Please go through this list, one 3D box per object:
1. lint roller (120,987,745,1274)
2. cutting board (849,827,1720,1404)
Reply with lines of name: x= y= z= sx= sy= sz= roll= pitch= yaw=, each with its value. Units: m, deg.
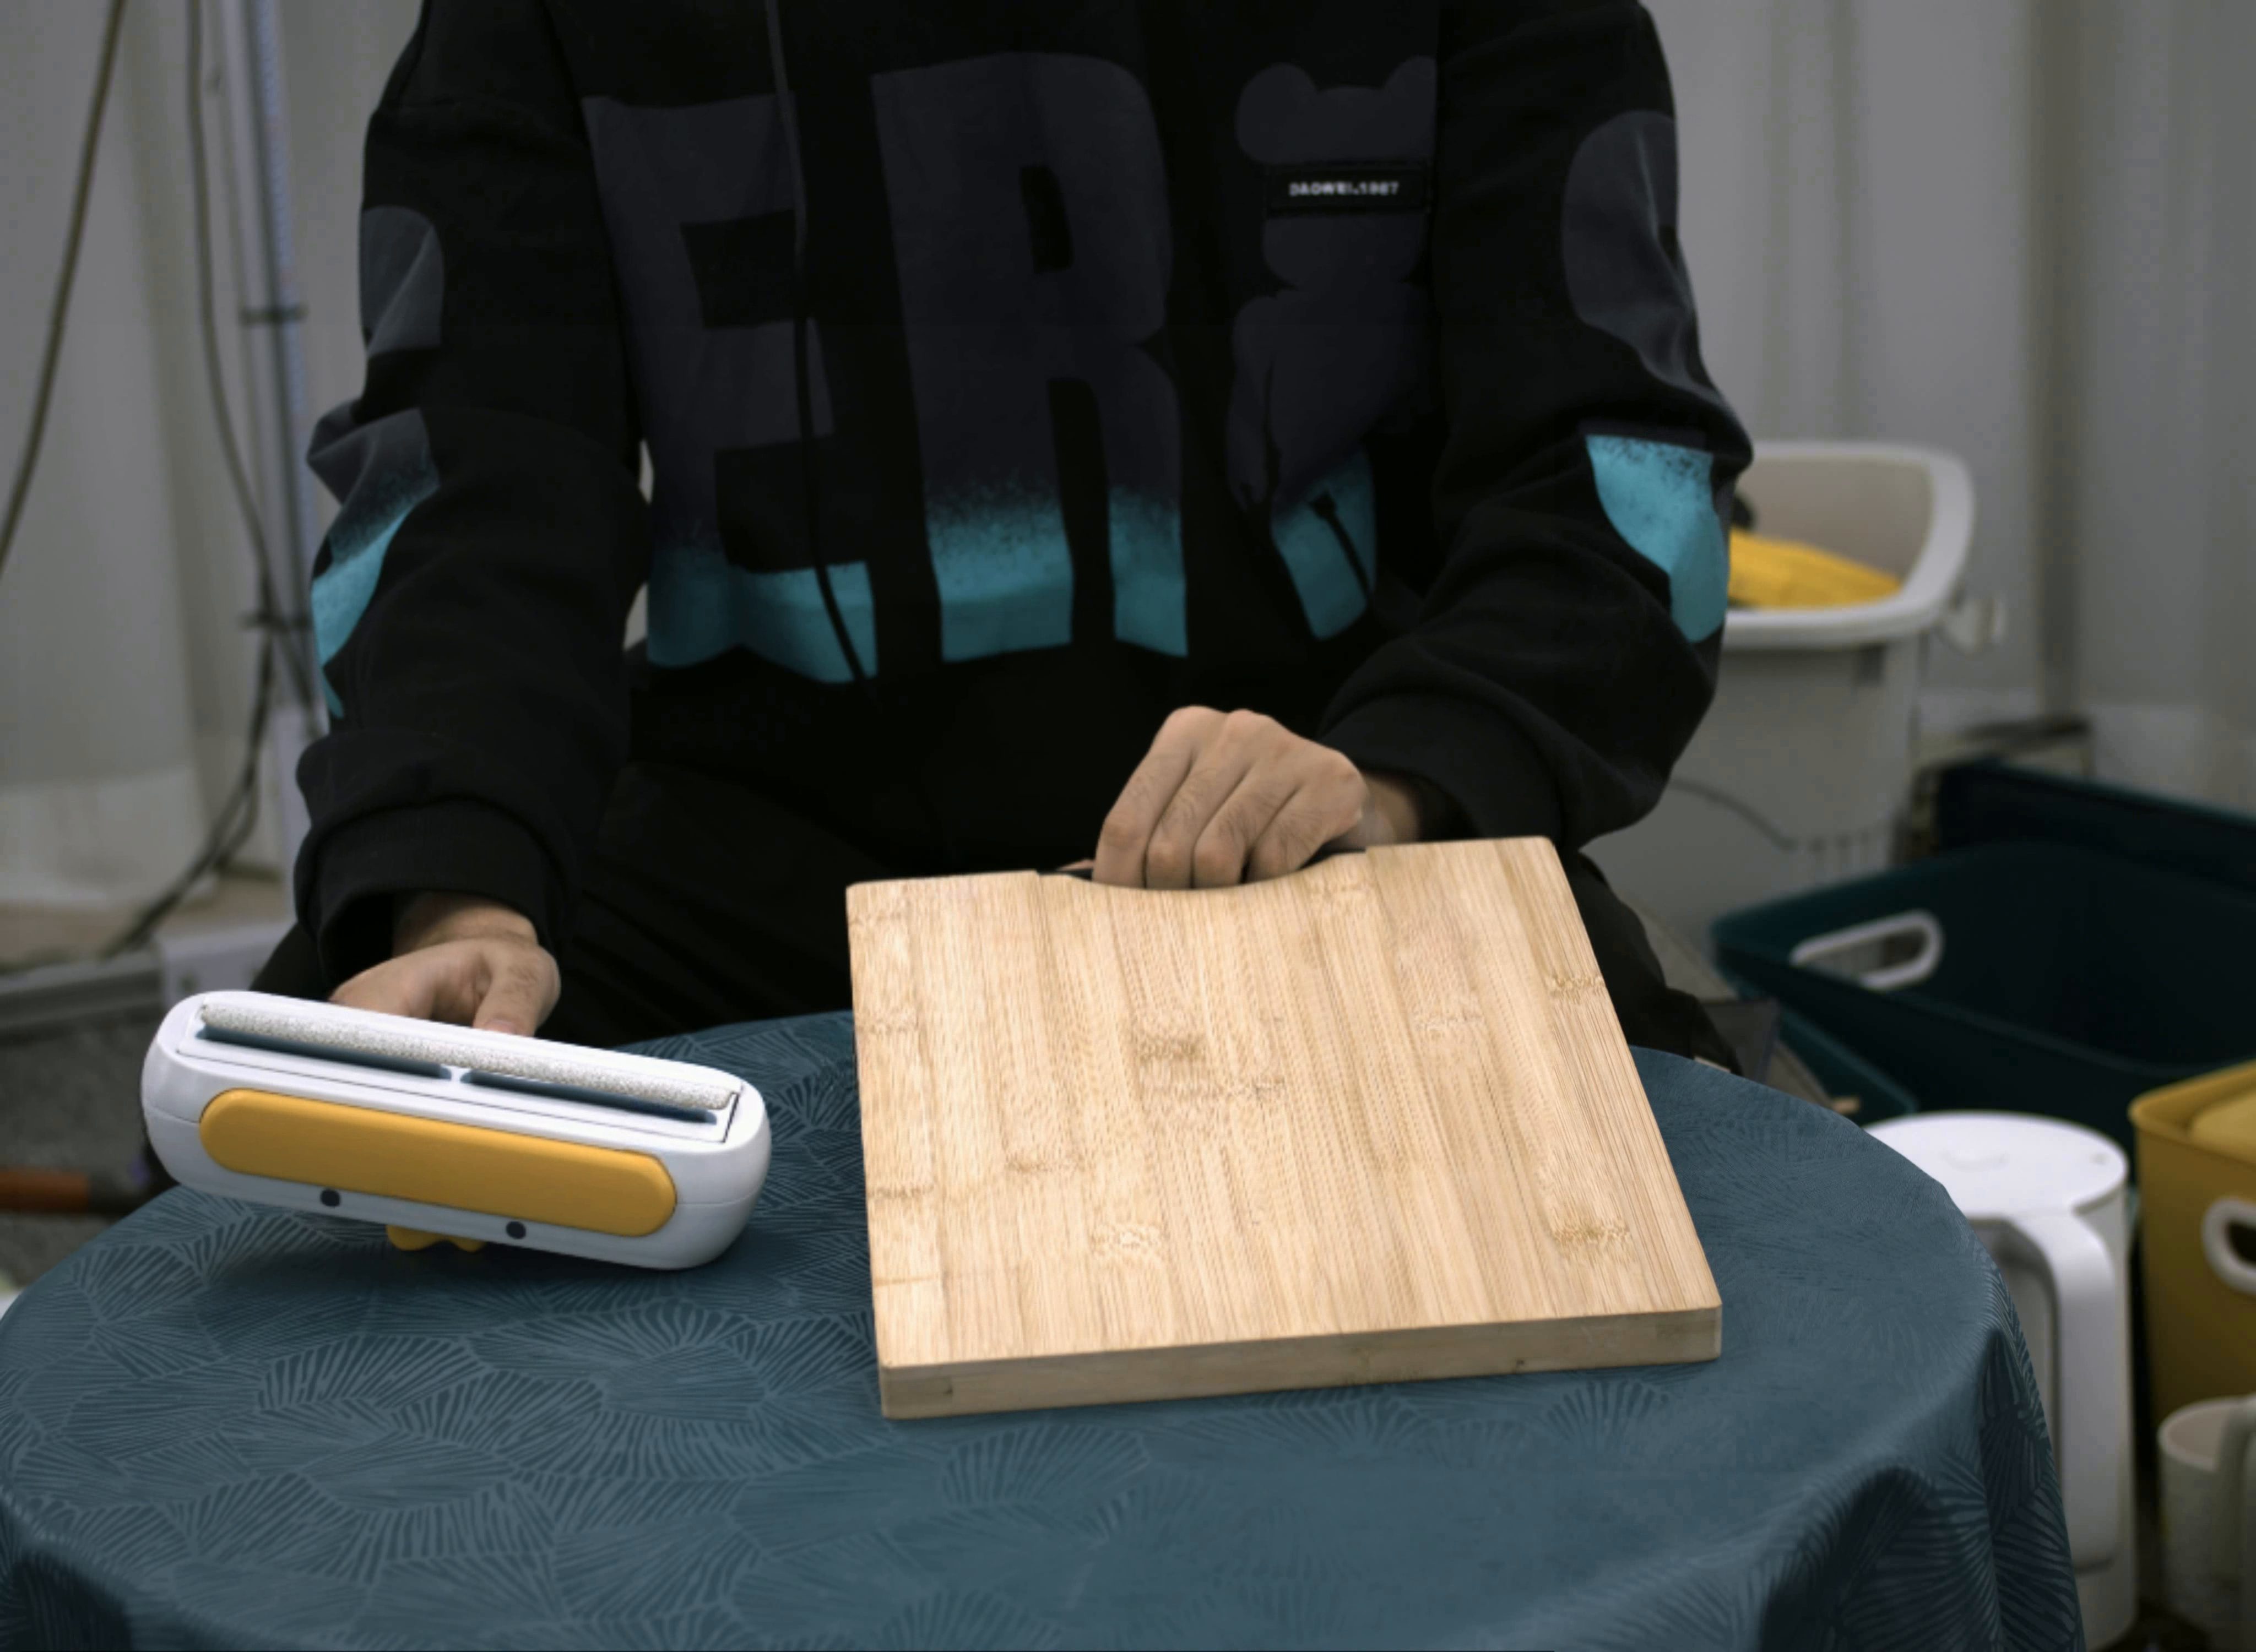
lint roller: x=-0.207 y=0.086 z=1.735 sx=0.192 sy=0.074 sz=0.193 roll=6 pitch=14 yaw=6
cutting board: x=0.037 y=0.084 z=1.698 sx=0.250 sy=0.023 sz=0.352 roll=-4 pitch=23 yaw=-3
